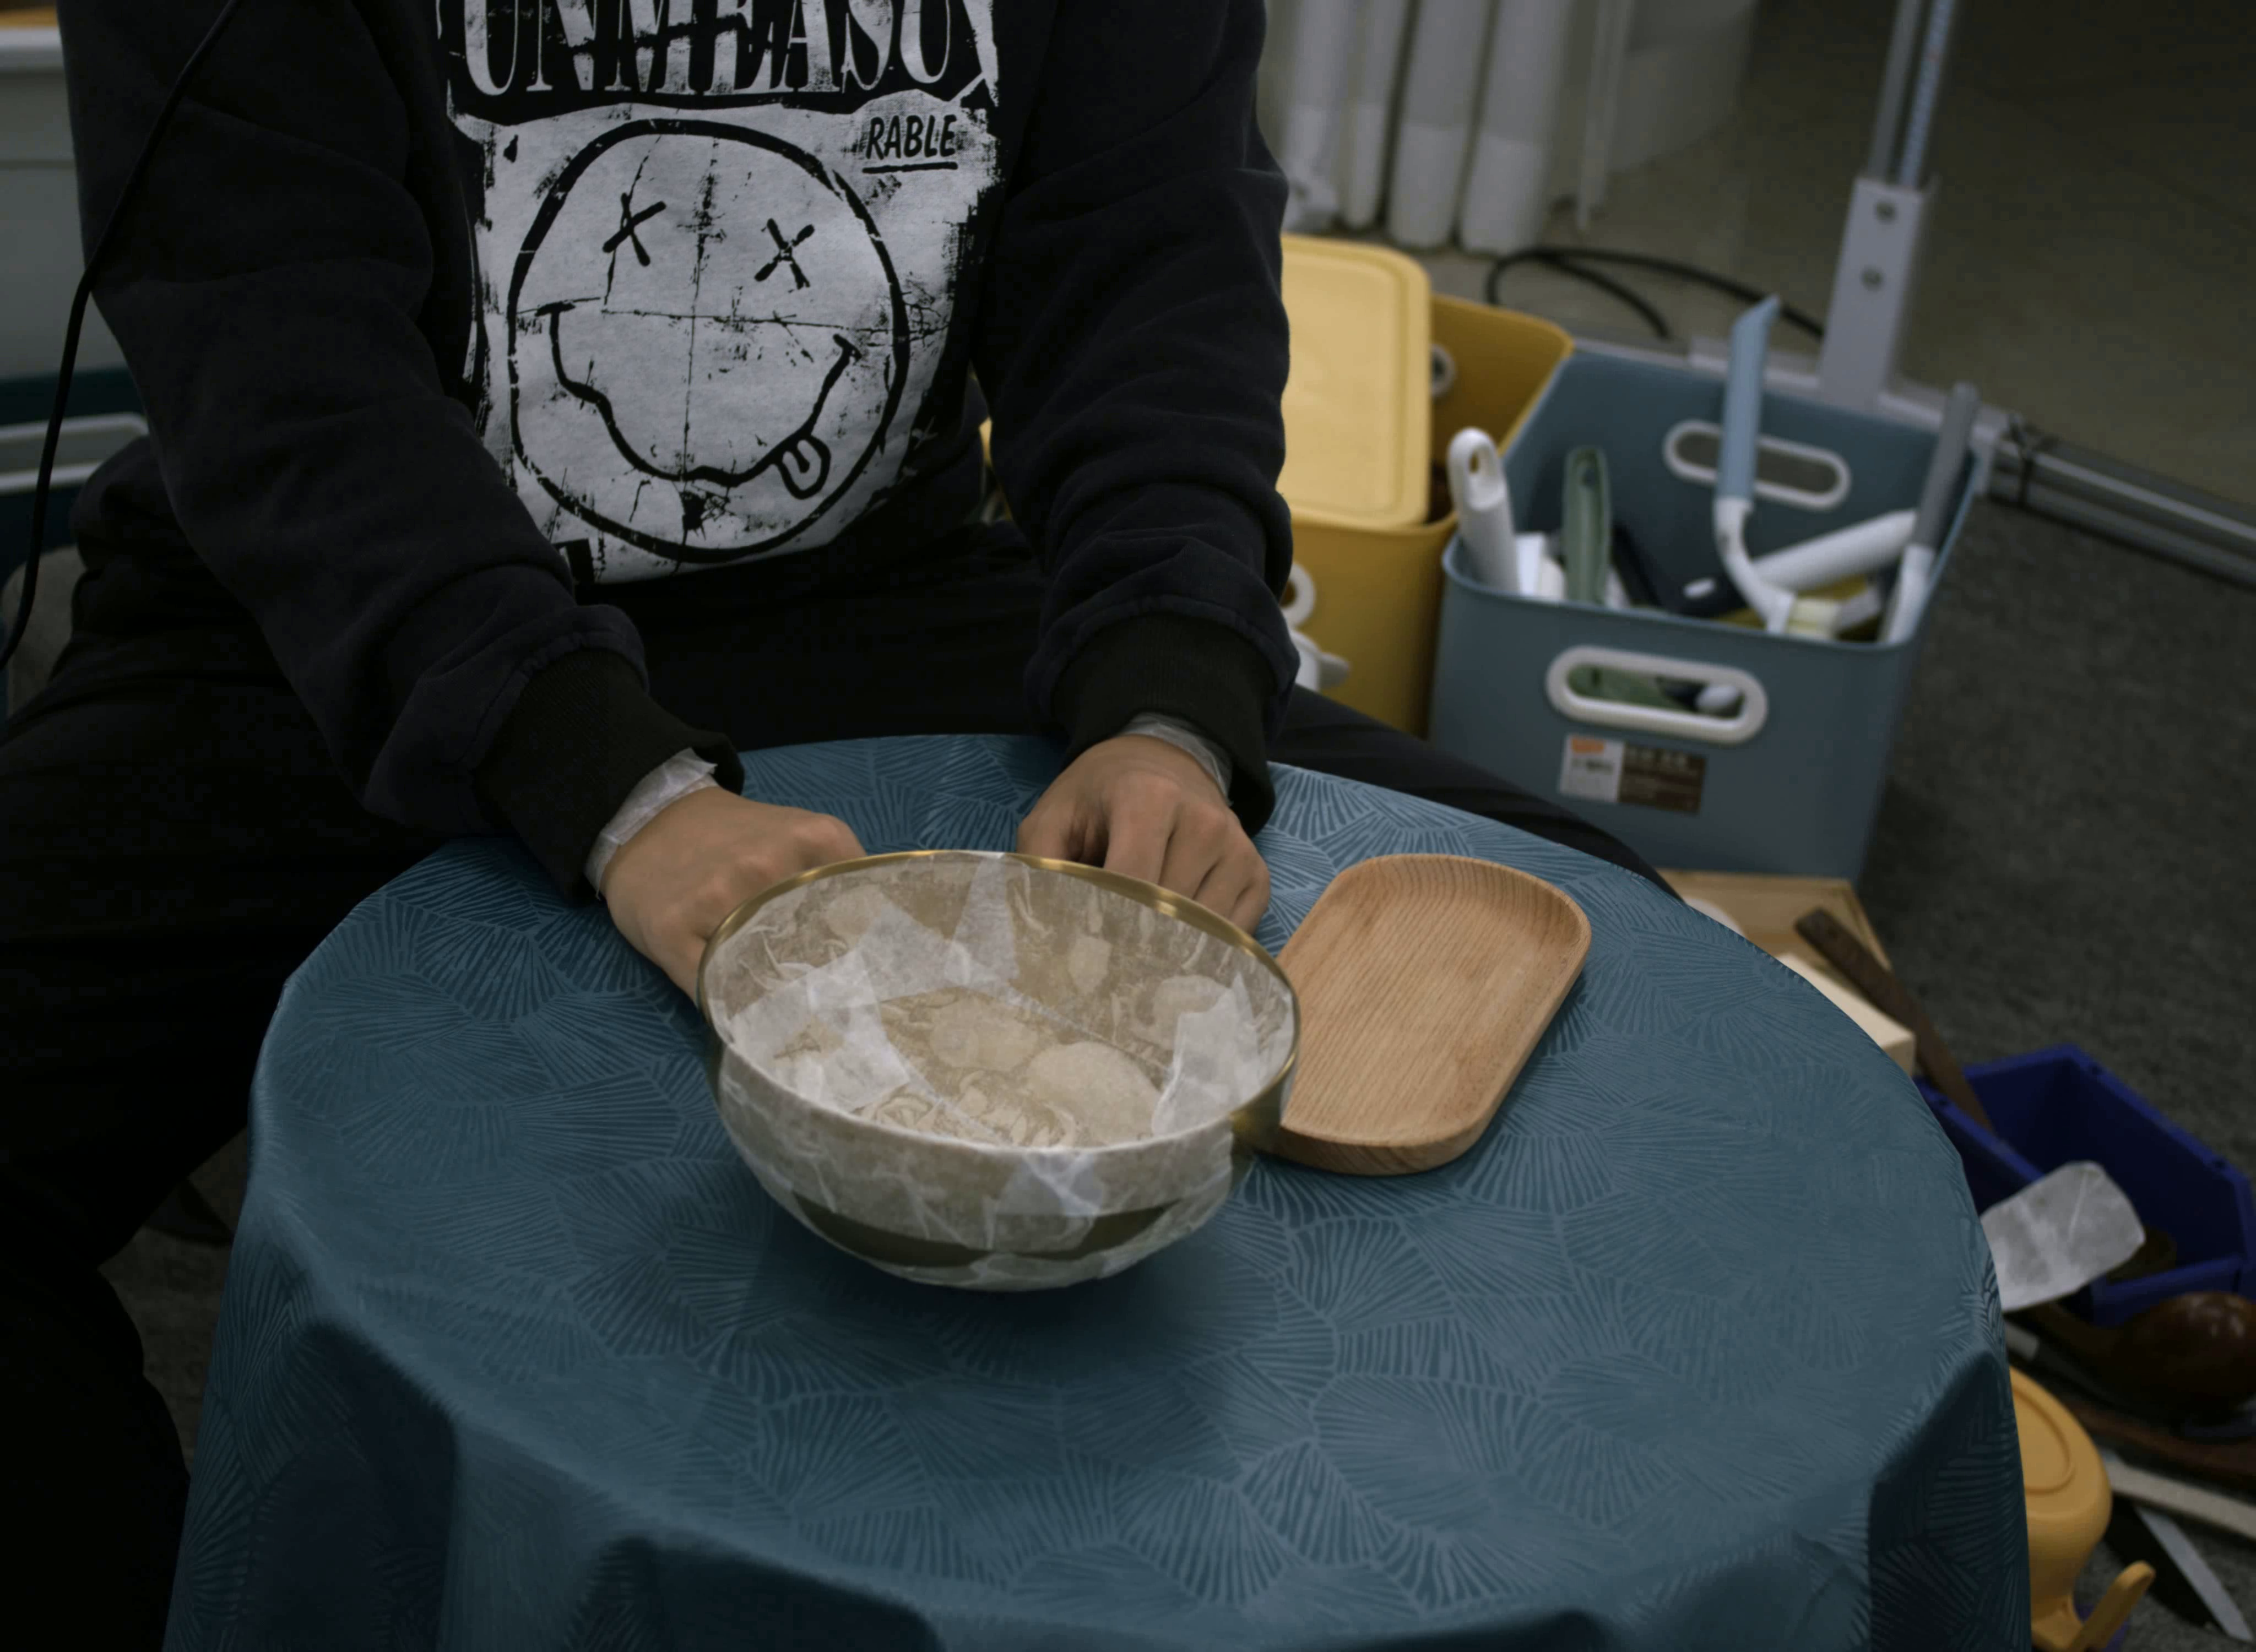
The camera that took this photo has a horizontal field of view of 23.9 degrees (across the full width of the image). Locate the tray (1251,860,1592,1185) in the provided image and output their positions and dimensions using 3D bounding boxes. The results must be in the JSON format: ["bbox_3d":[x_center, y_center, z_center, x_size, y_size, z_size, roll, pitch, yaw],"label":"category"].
[{"bbox_3d":[0.101,0.069,1.915,0.102,0.020,0.231,12,29,15],"label":"tray"}]

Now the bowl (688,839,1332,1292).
[{"bbox_3d":[-0.043,0.091,1.752,0.214,0.094,0.216,4,27,-2],"label":"bowl"}]
